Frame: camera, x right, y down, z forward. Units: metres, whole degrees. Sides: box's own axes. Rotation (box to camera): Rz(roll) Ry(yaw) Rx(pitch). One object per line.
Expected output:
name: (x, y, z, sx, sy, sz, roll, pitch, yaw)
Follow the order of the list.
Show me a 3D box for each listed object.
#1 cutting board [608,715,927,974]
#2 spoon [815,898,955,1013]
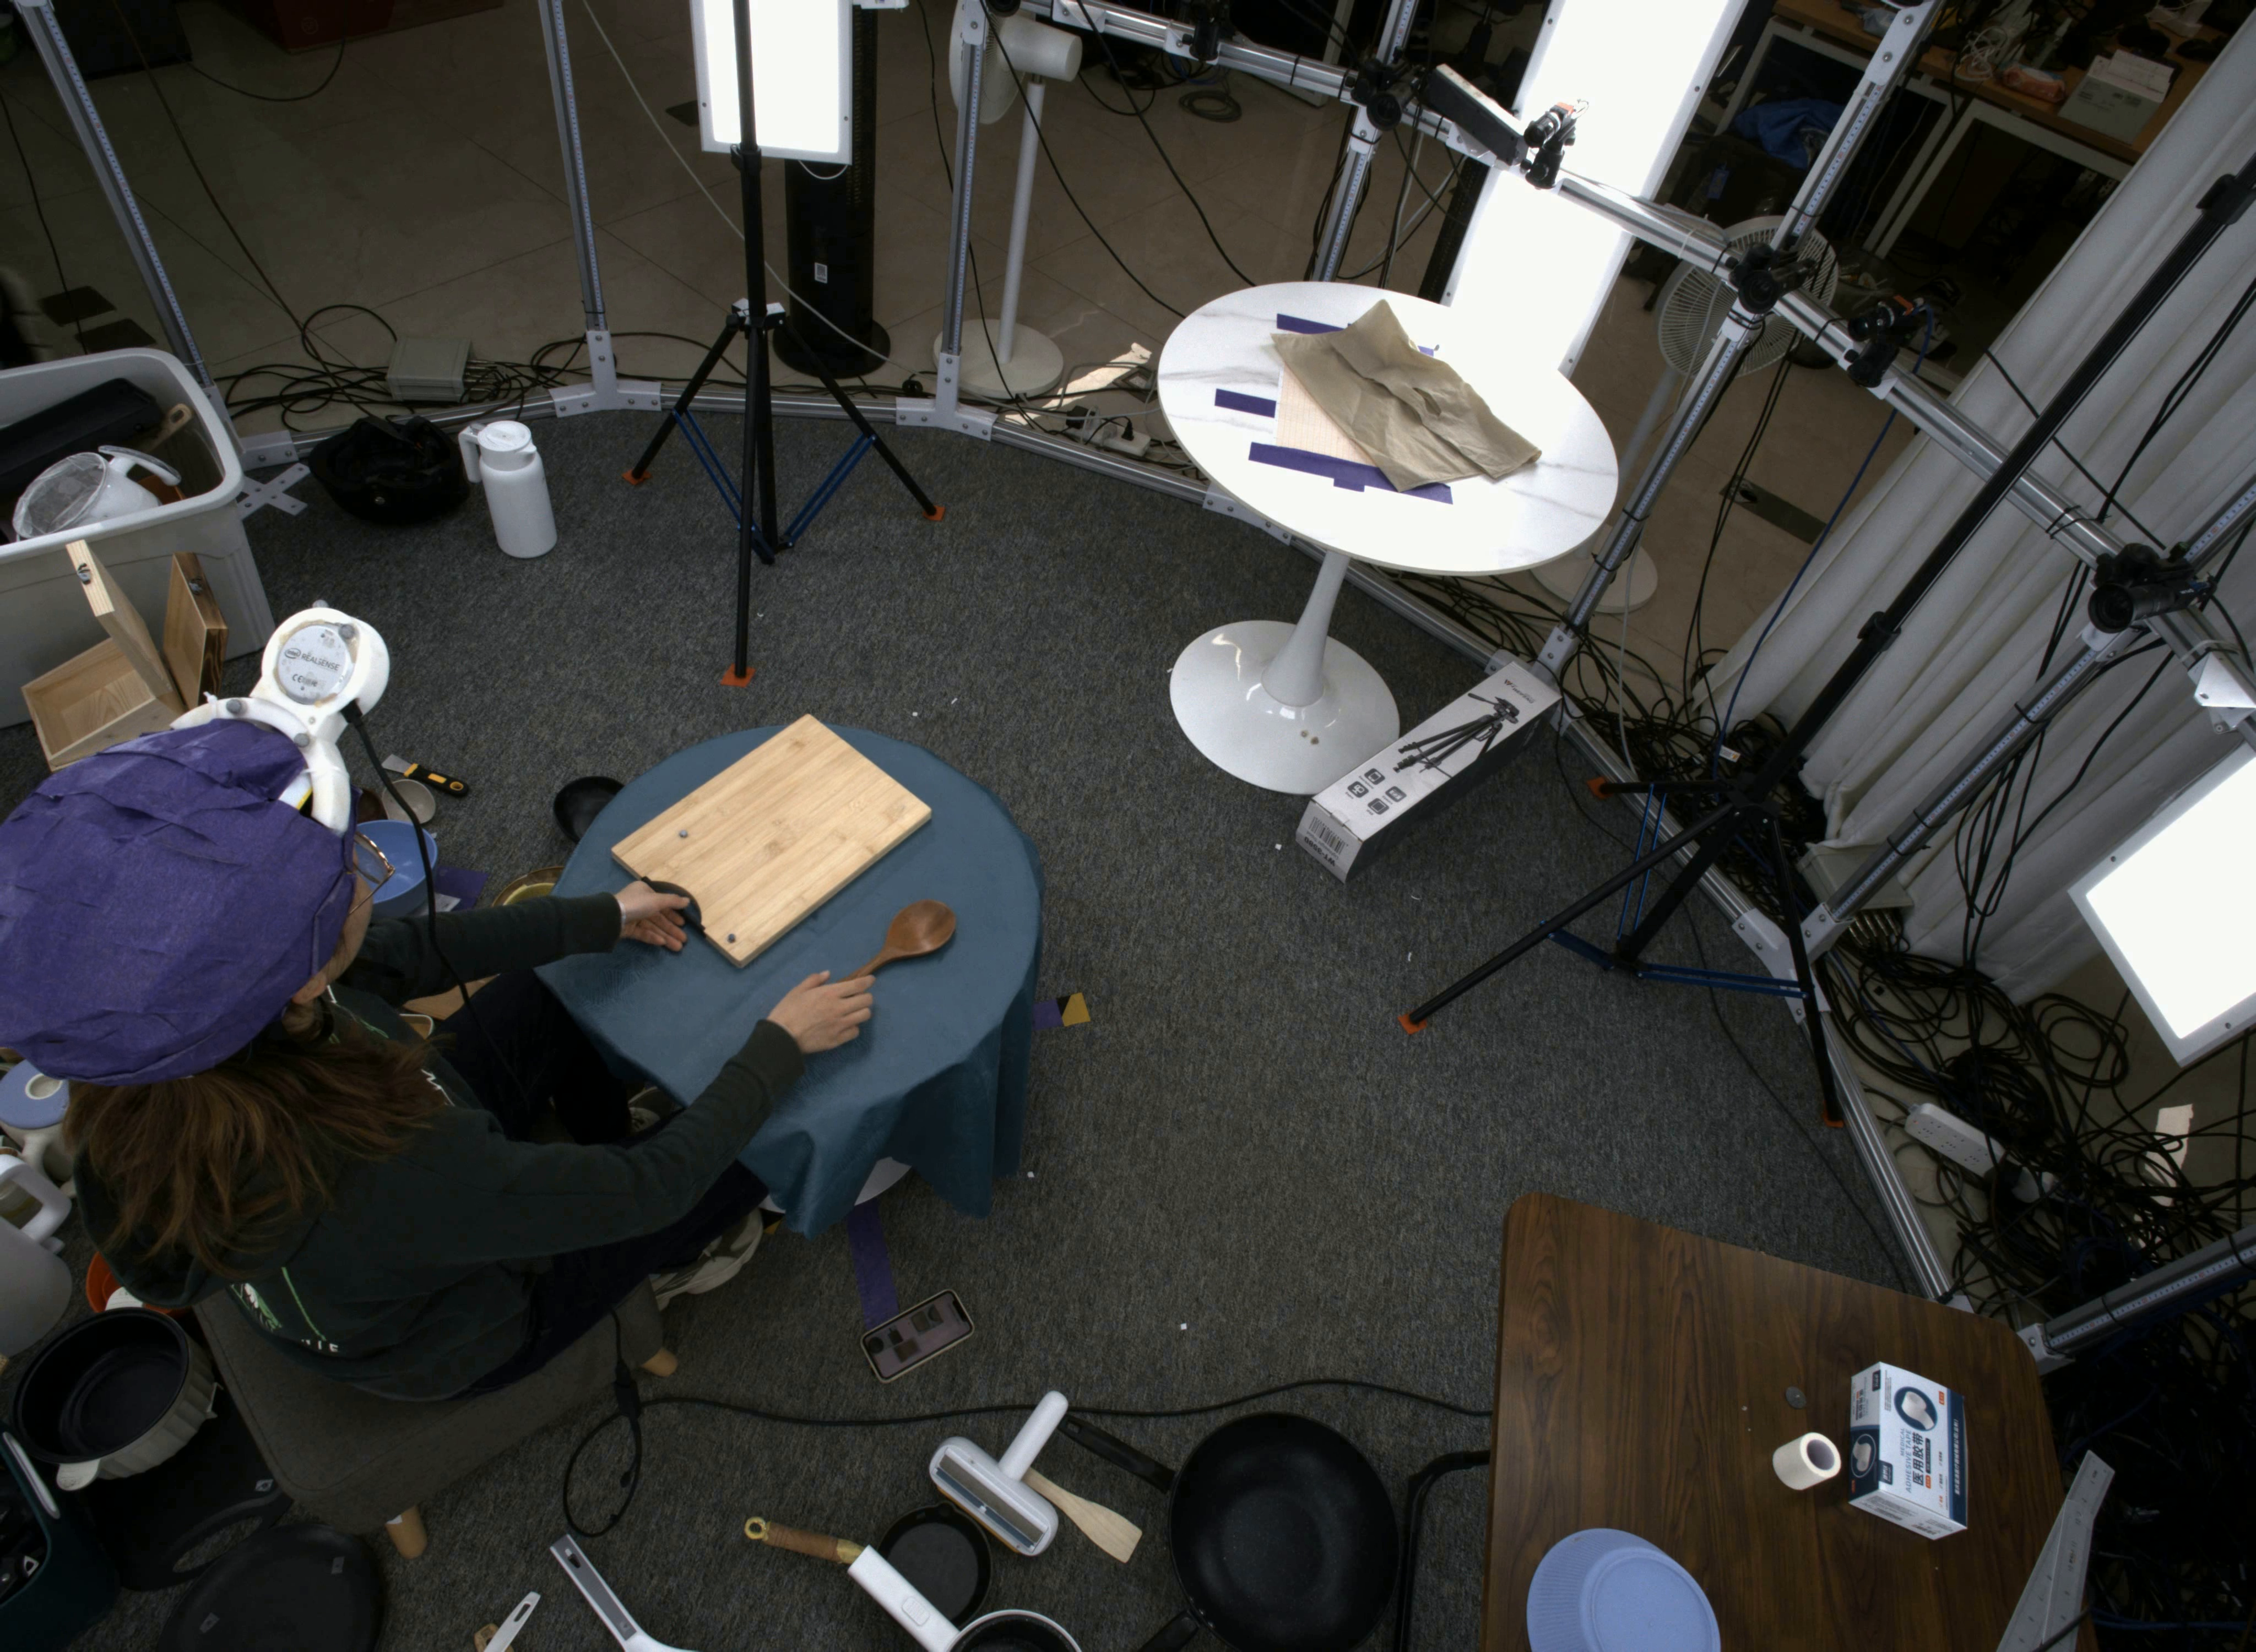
cutting board: (-0.467, 0.012, 1.699, 0.245, 0.024, 0.348, 36, 54, 14)
spoon: (-0.305, 0.162, 1.628, 0.074, 0.017, 0.216, 41, 54, 15)
